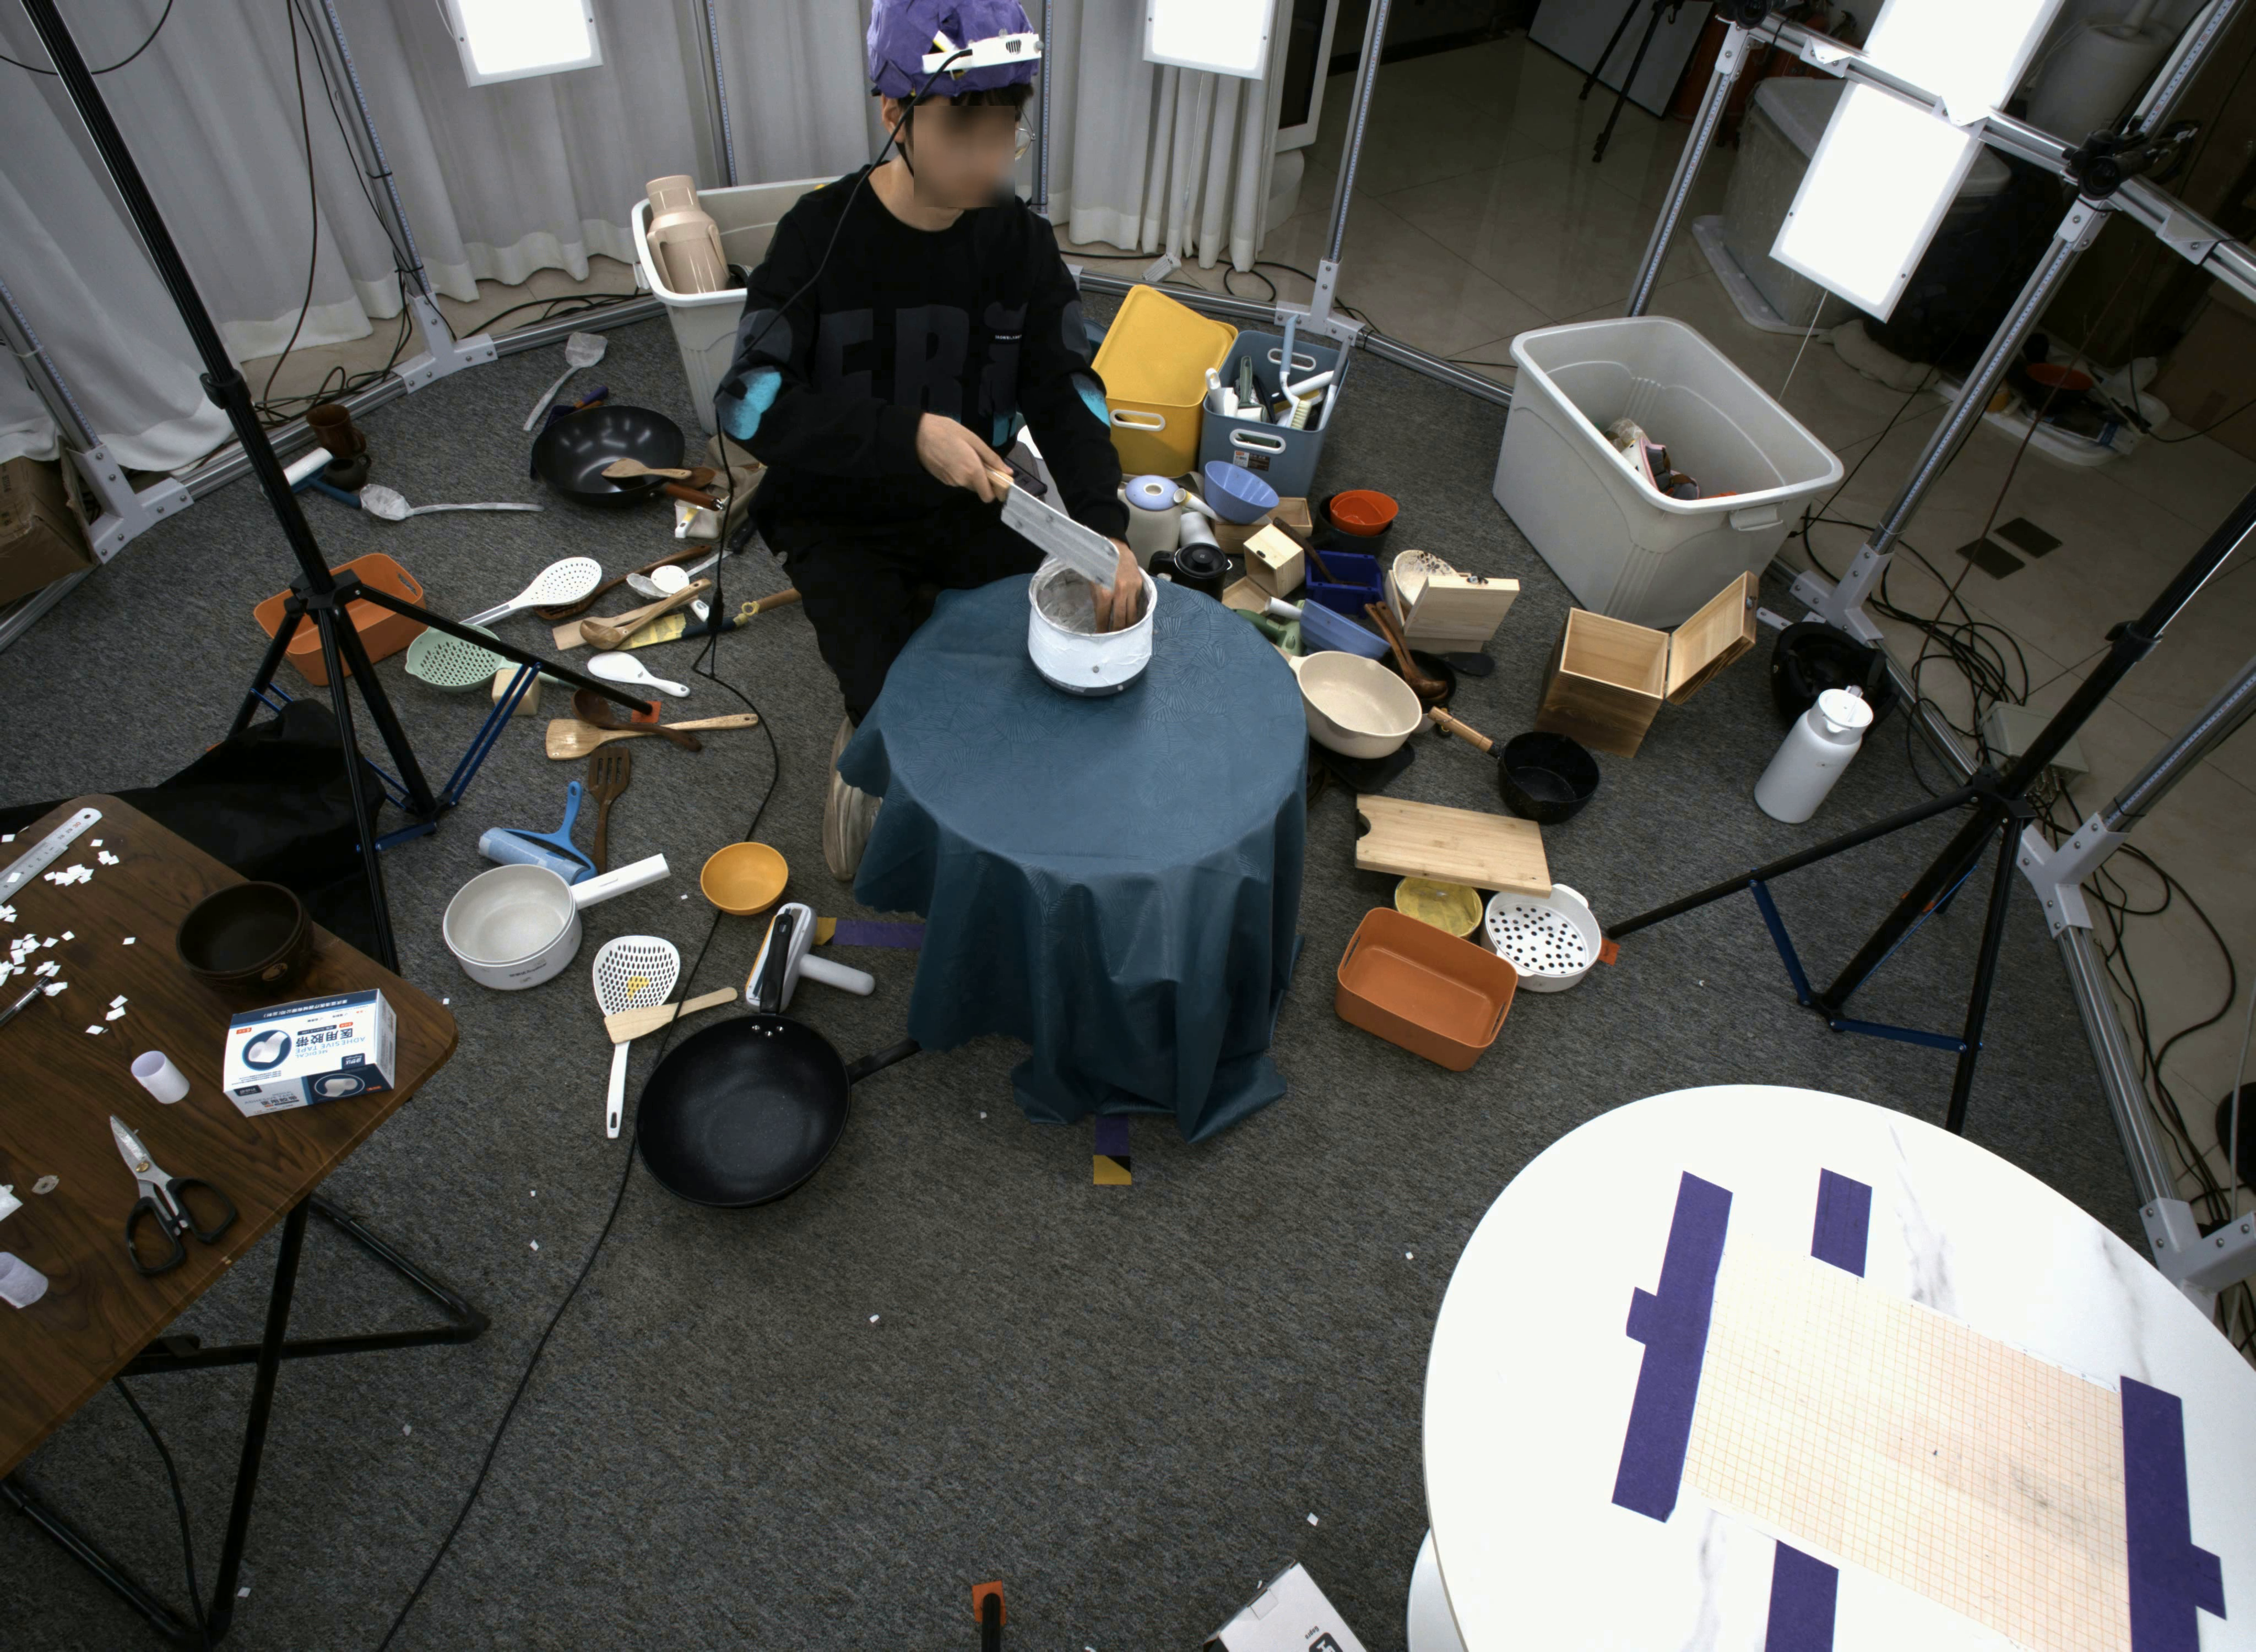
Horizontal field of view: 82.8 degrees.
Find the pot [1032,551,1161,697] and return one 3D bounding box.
[{"bbox_3d":[-0.061,-0.301,1.837,0.179,0.133,0.238,-21,55,-22],"label":"pot"}]

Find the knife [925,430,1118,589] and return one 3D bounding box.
[{"bbox_3d":[-0.137,-0.425,1.715,0.316,0.112,0.022,36,65,4],"label":"knife"}]
